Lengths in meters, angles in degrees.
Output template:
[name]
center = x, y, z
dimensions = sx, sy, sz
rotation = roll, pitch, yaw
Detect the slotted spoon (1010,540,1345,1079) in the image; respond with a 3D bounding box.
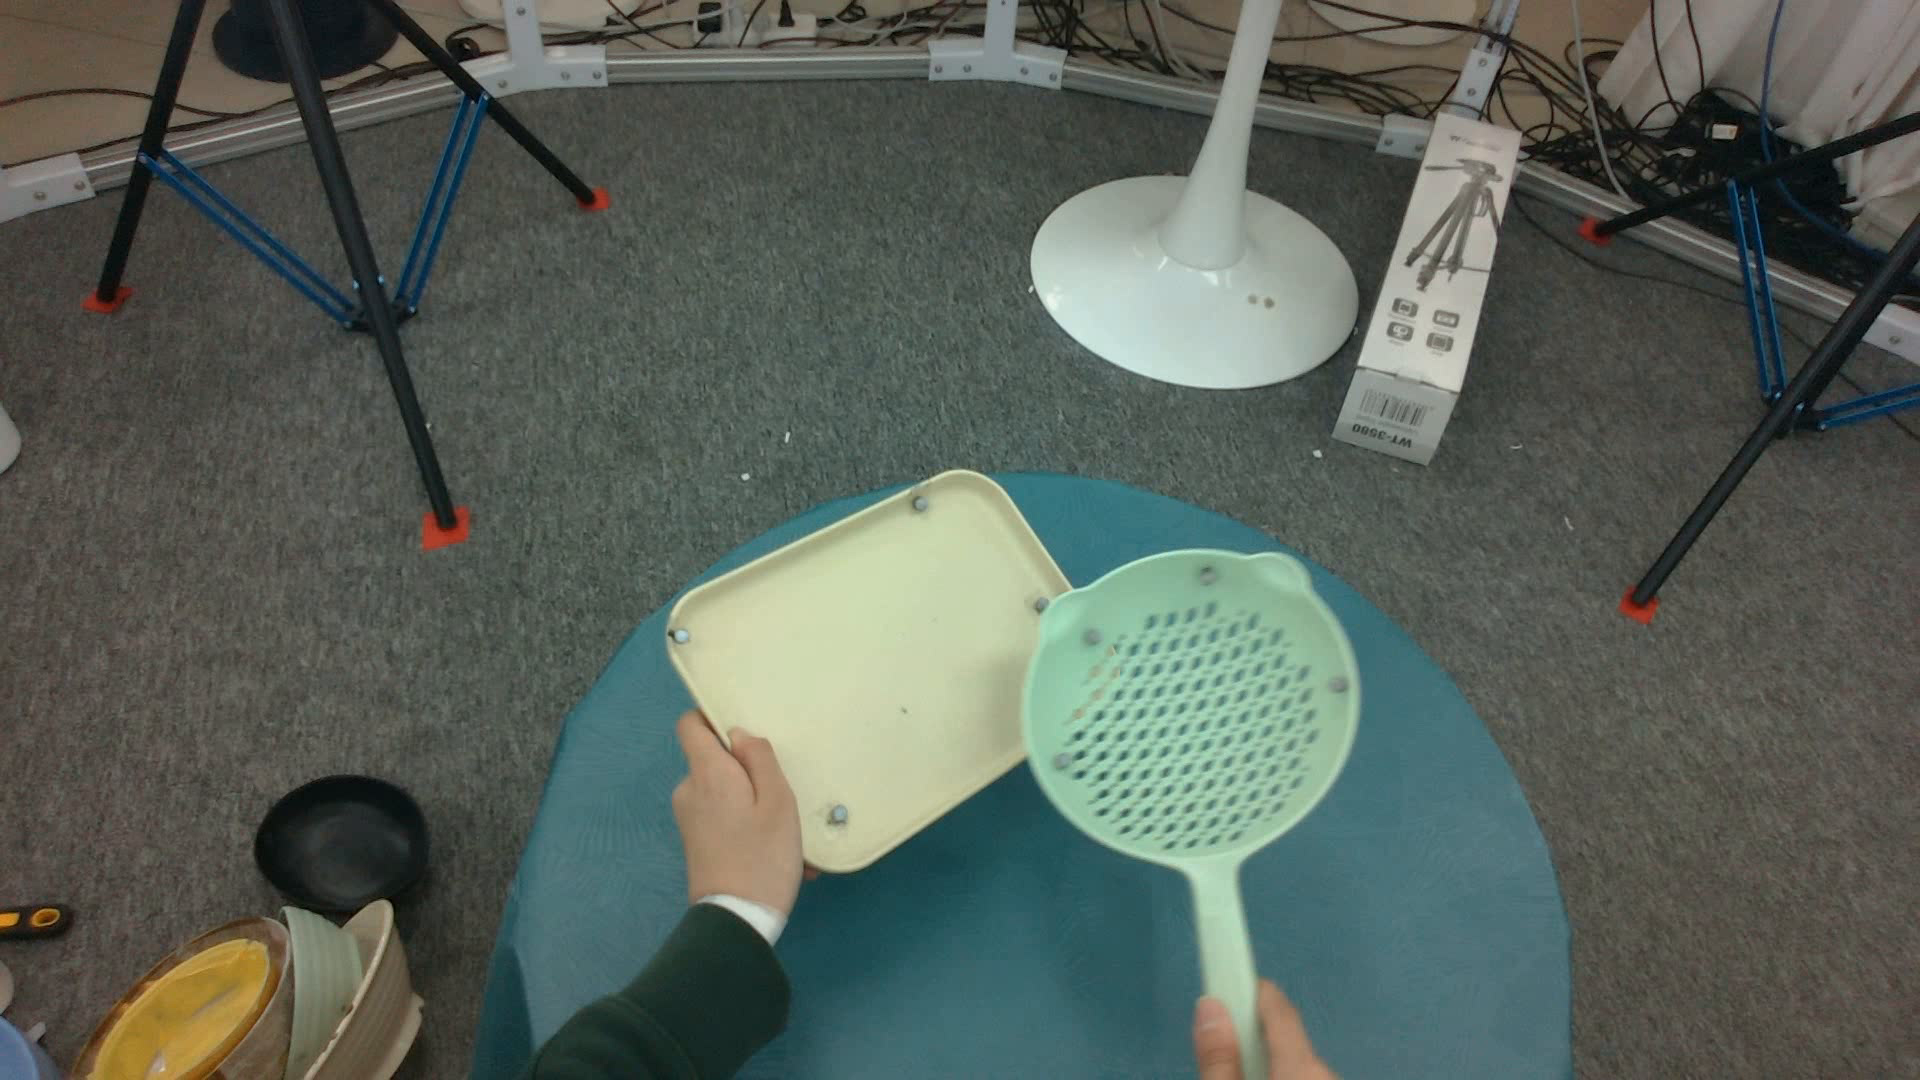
[slotted spoon]
center = 0.119, 0.161, 0.659
dimensions = 0.169, 0.075, 0.360
rotation = -12, 49, 10

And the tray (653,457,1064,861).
[tray]
center = -0.038, 0.058, 0.766
dimensions = 0.241, 0.017, 0.171
rotation = -27, 77, -35
